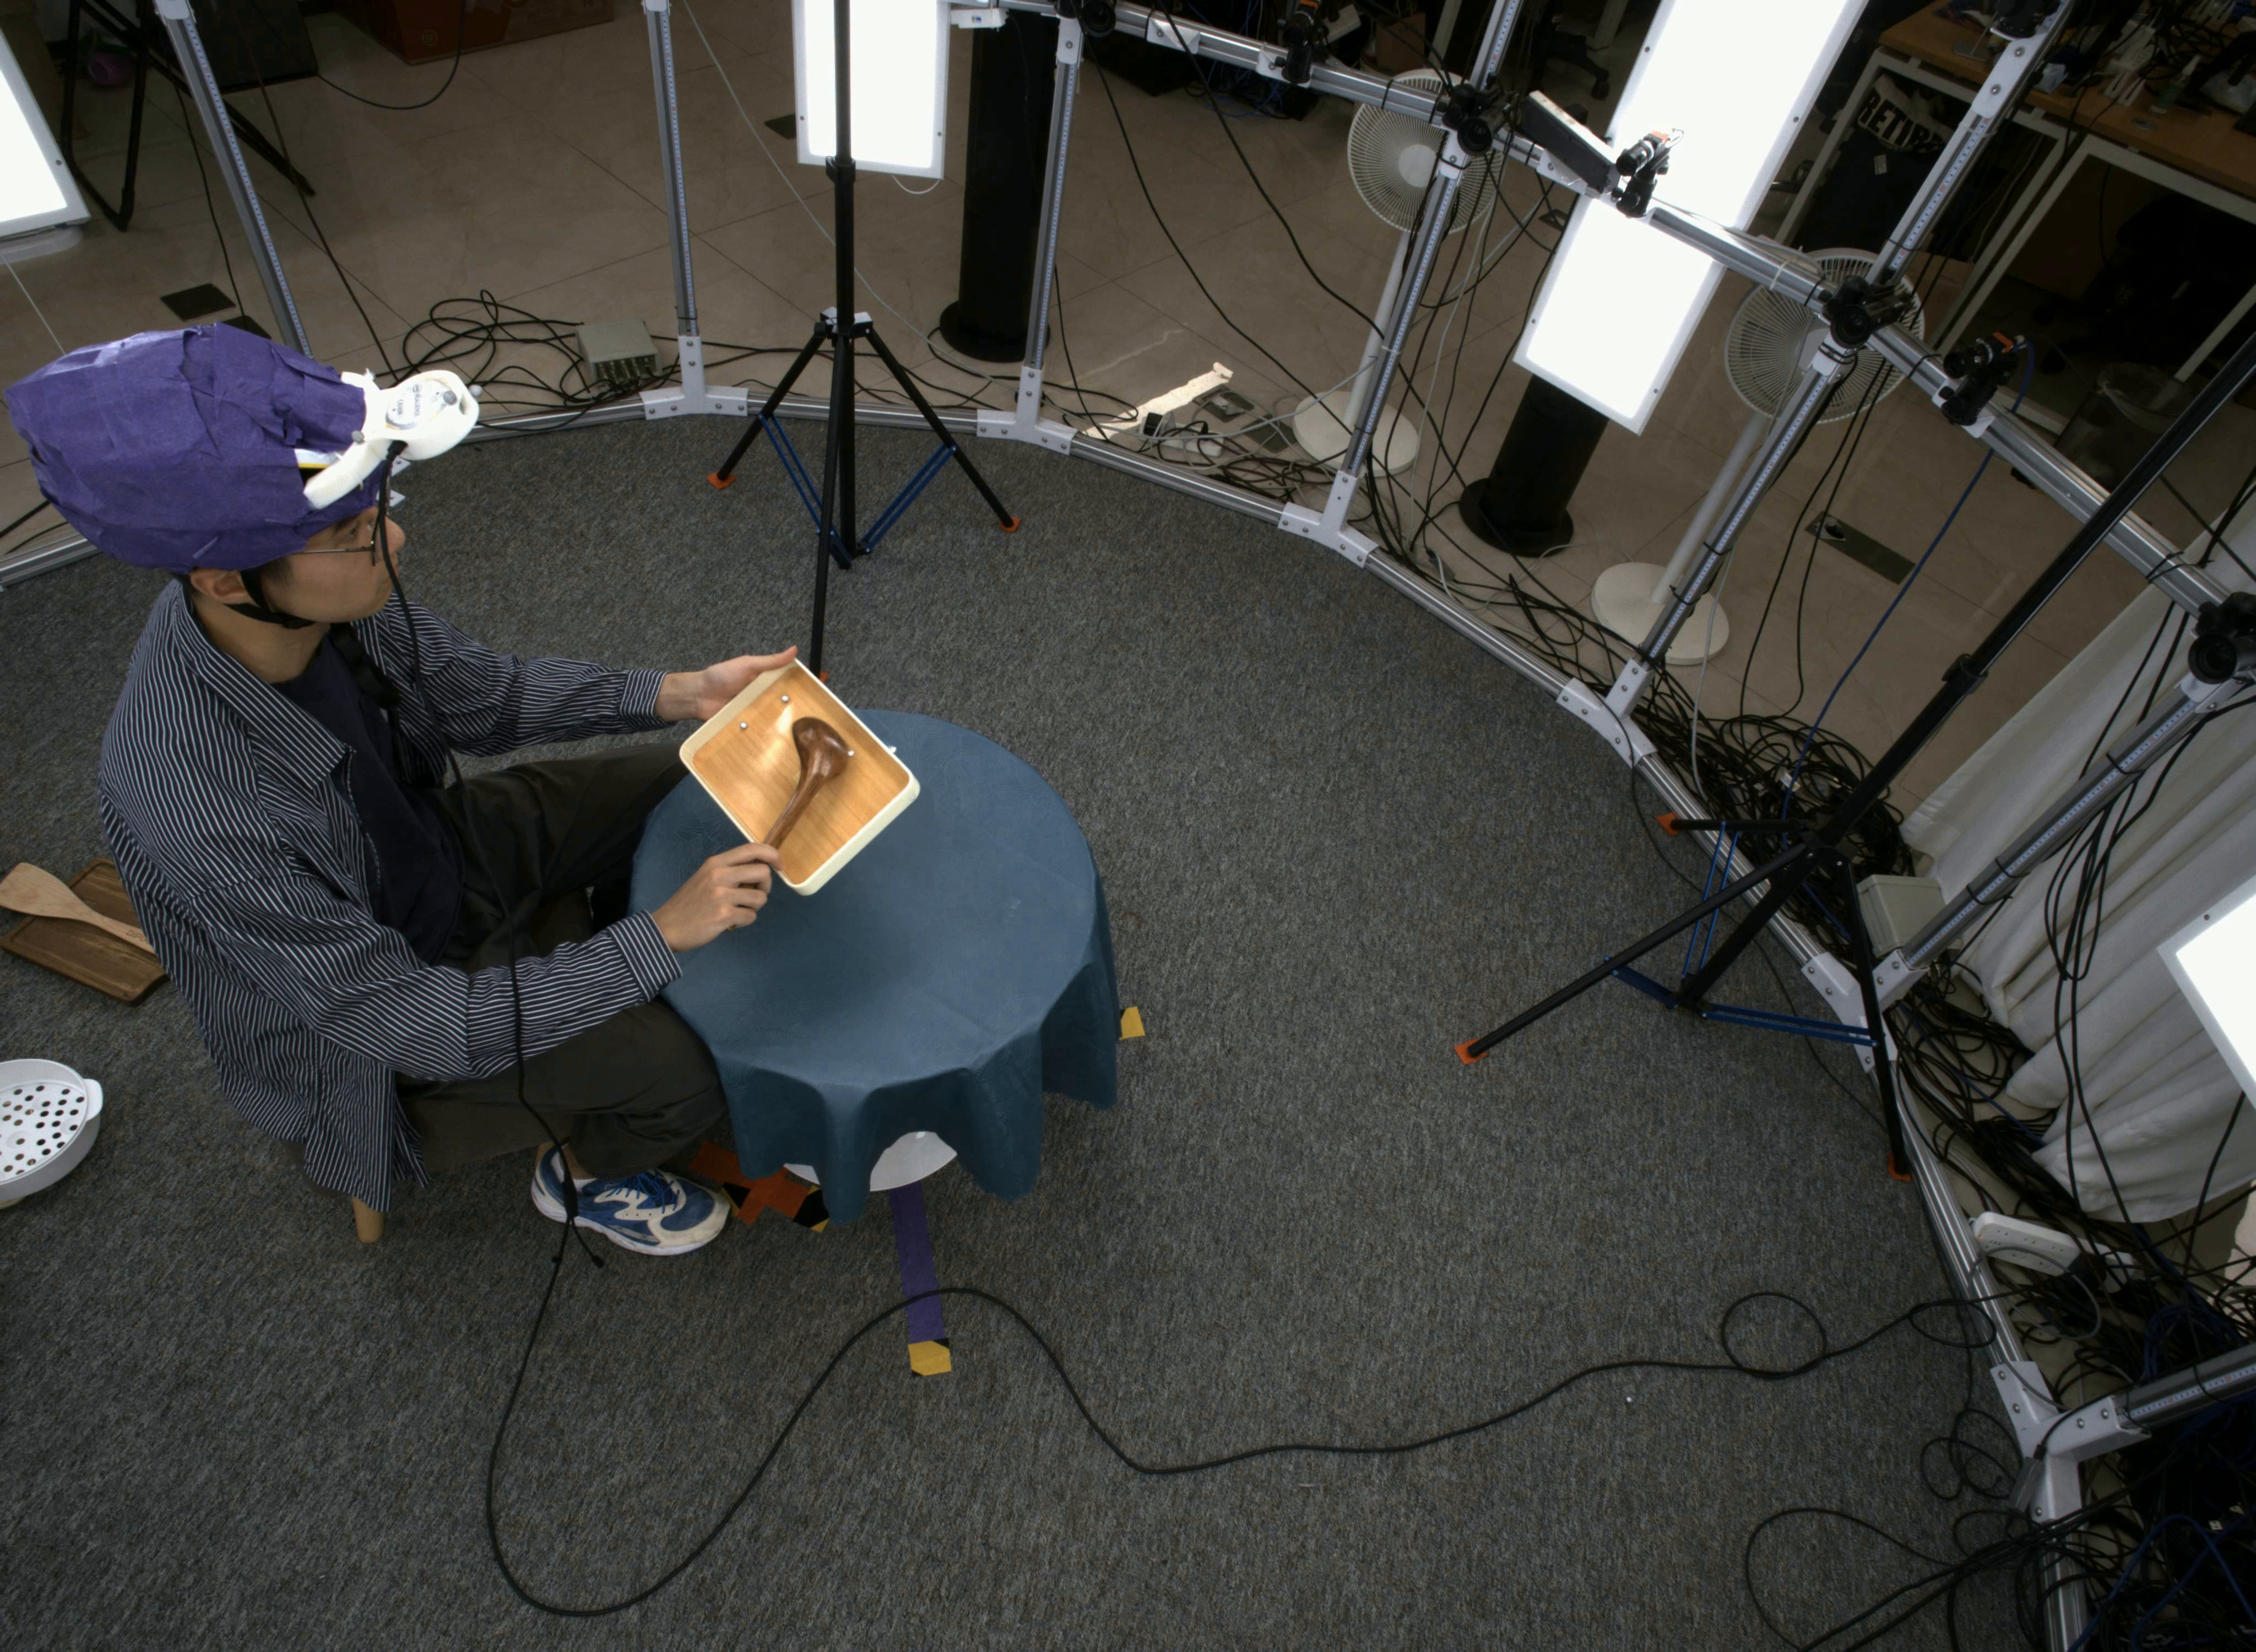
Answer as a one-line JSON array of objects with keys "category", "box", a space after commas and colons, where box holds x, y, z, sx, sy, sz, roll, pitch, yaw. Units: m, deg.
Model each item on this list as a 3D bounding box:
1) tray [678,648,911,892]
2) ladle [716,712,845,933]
[{"category": "tray", "box": [-0.406, -0.074, 1.555, 0.191, 0.028, 0.290, -44, 60, -7]}, {"category": "ladle", "box": [-0.409, -0.008, 1.480, 0.084, 0.074, 0.274, 38, 70, -34]}]
